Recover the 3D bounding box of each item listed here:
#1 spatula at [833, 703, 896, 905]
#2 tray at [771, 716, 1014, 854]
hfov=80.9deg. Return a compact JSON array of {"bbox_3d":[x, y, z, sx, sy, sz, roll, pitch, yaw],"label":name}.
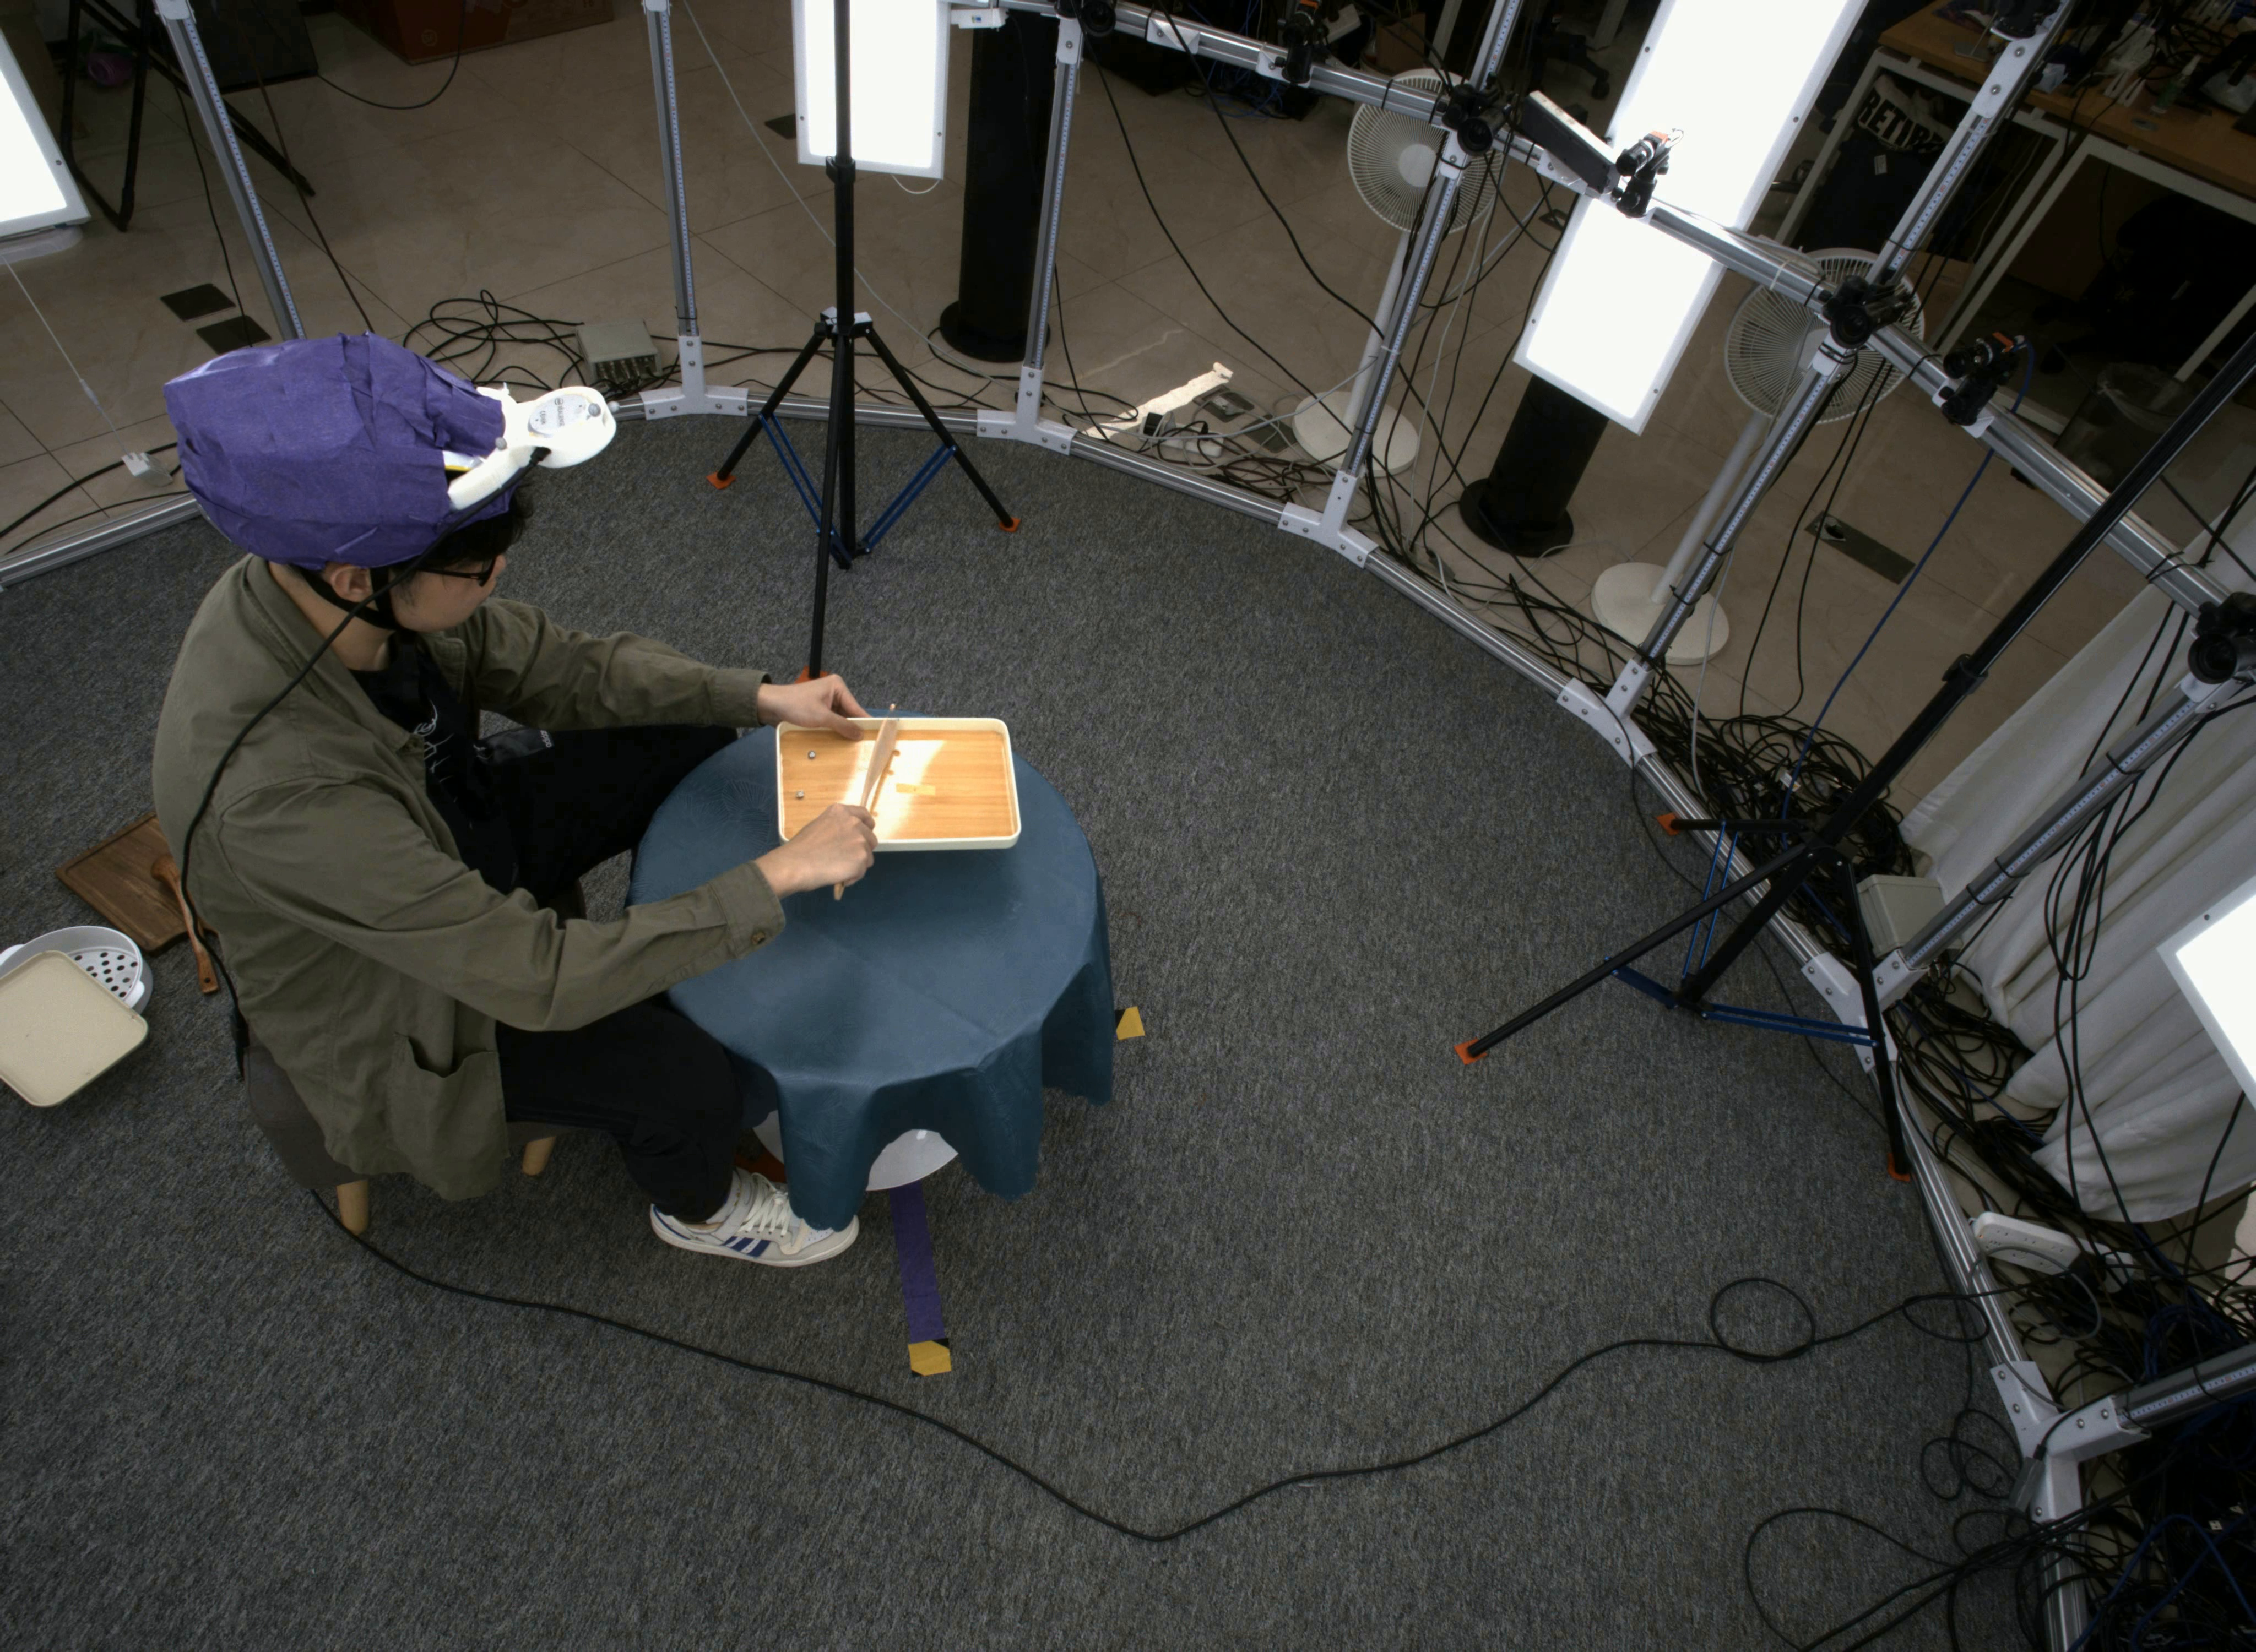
[{"bbox_3d":[-0.314,-0.028,1.557,0.016,0.082,0.321,6,43,-3],"label":"spatula"},{"bbox_3d":[-0.302,-0.056,1.661,0.301,0.028,0.188,-1,59,-16],"label":"tray"}]
